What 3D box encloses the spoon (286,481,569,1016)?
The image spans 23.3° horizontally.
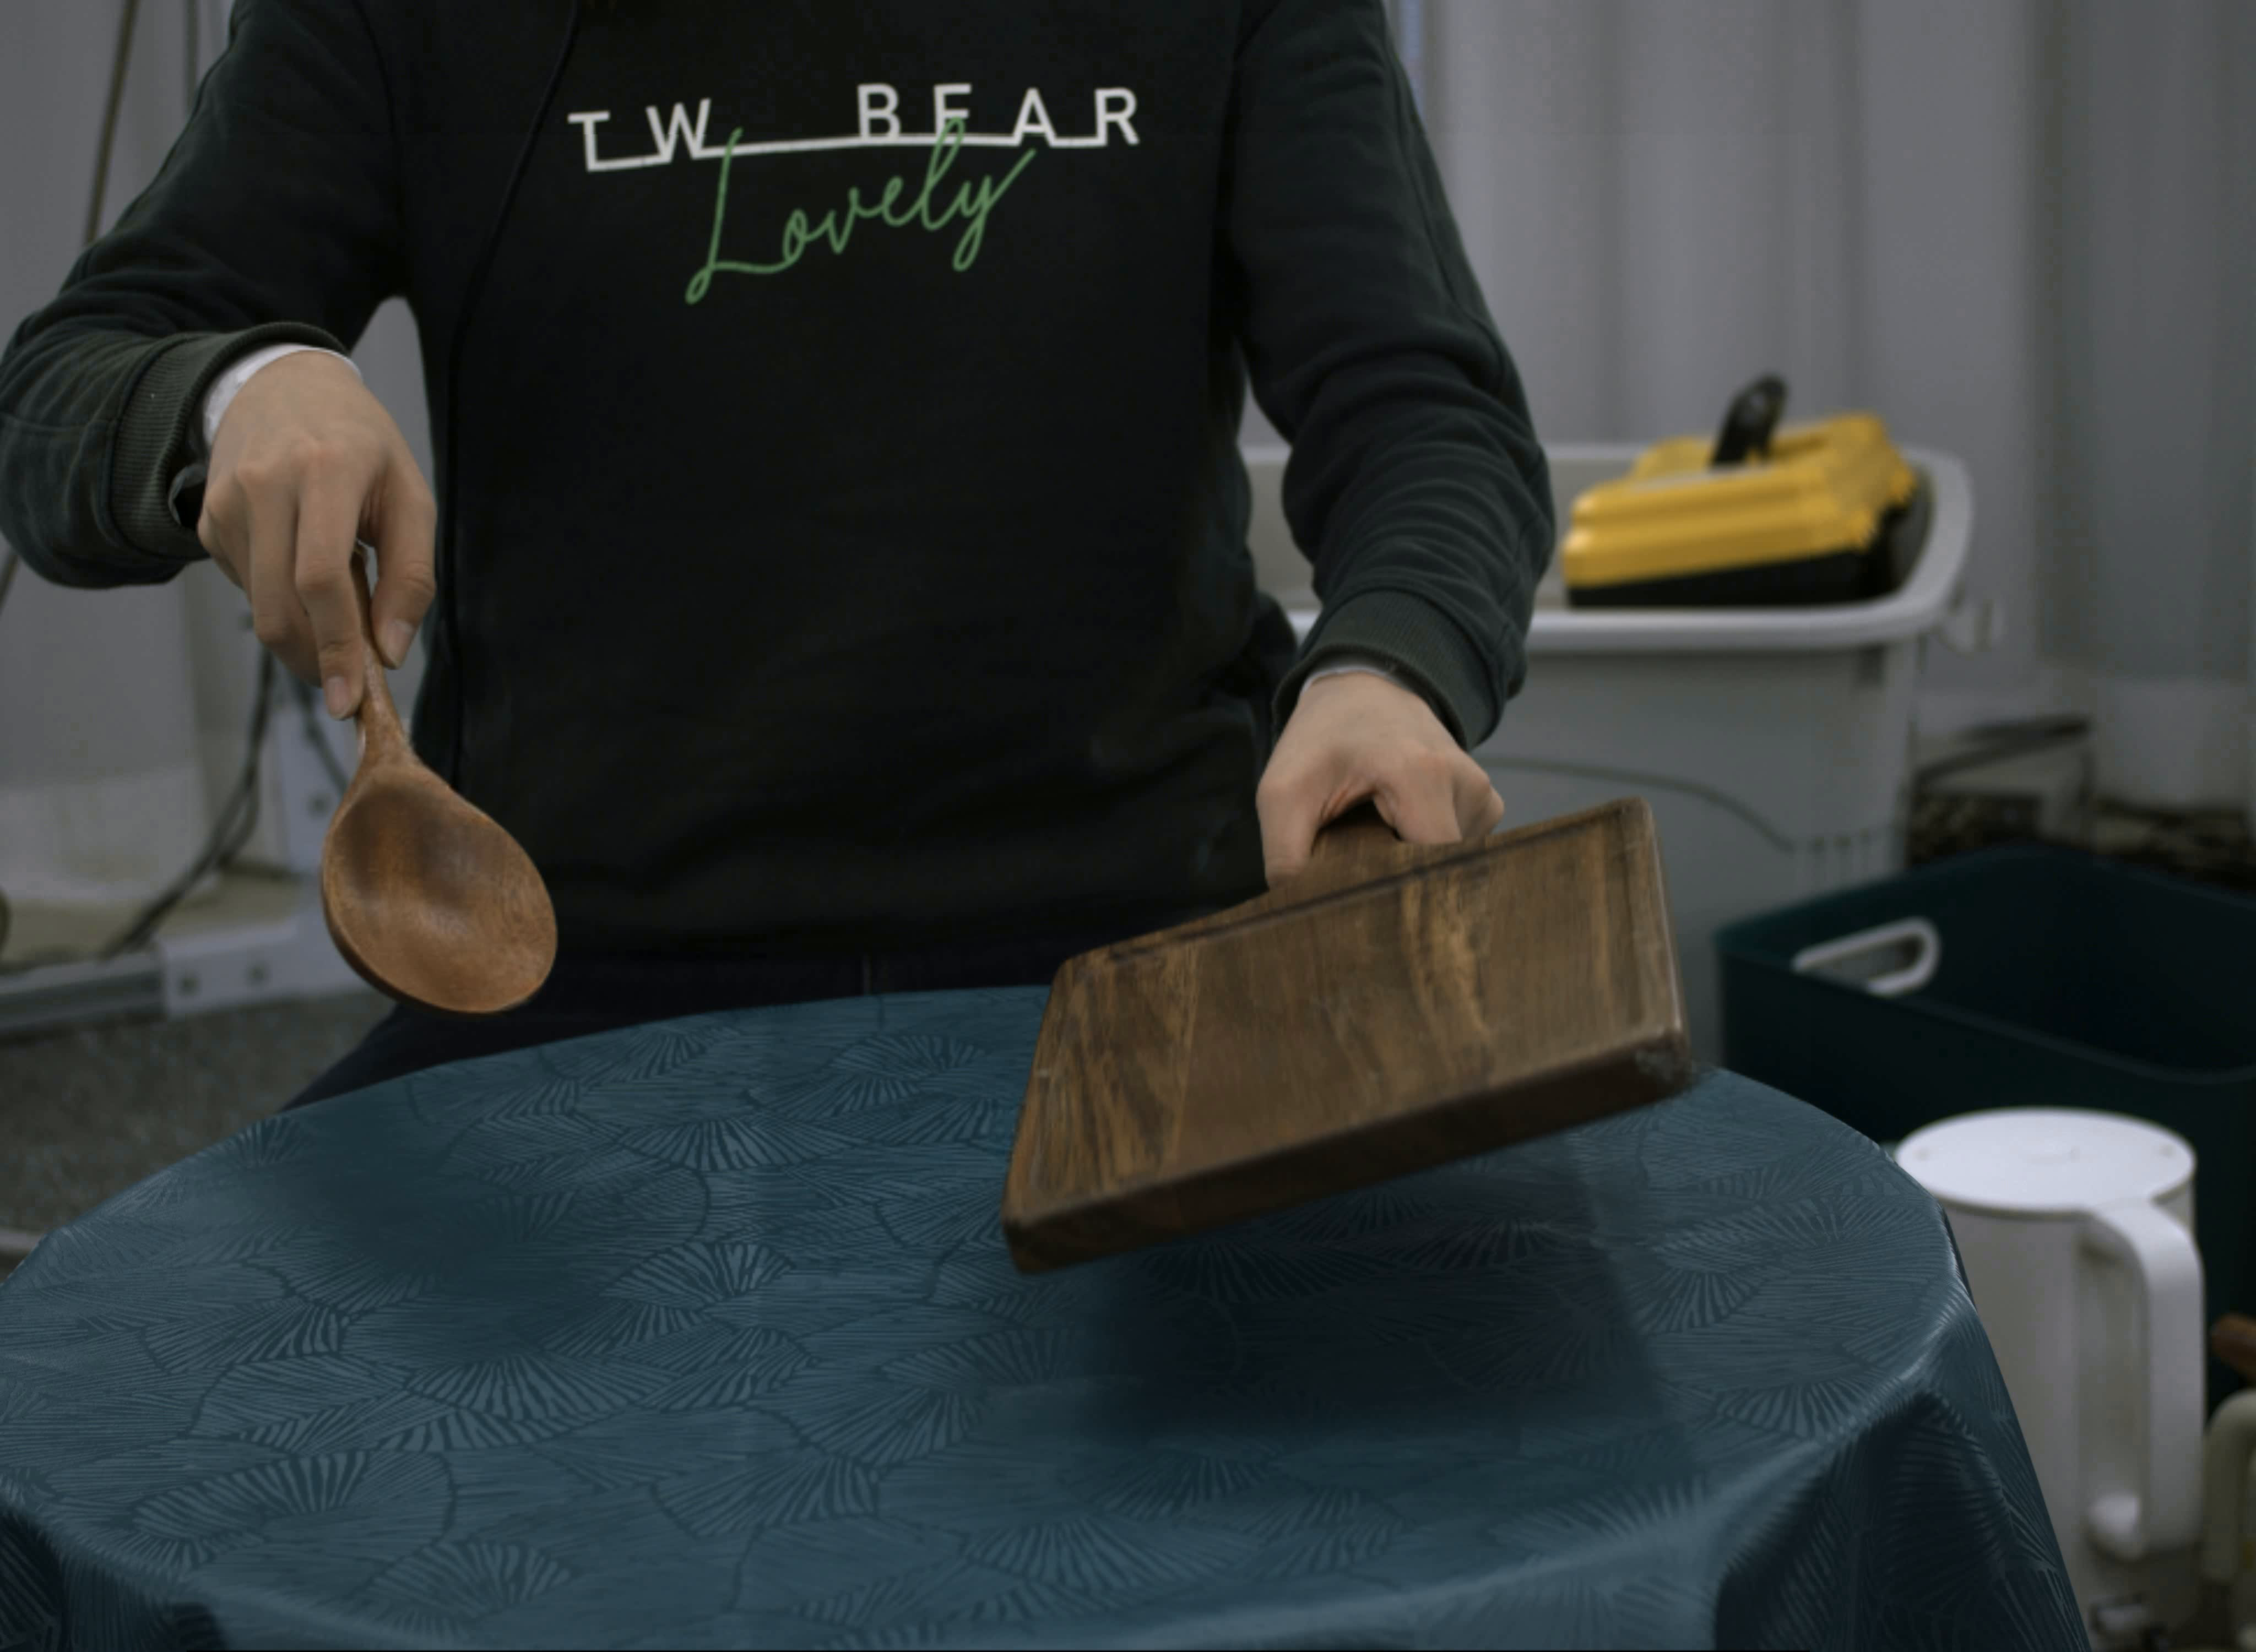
[{"bbox_3d":[-0.226,-0.024,1.688,0.075,0.017,0.219,-1,49,-27],"label":"spoon"}]

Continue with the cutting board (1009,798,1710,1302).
[{"bbox_3d":[0.069,0.048,1.646,0.200,0.023,0.354,-17,14,8],"label":"cutting board"}]
